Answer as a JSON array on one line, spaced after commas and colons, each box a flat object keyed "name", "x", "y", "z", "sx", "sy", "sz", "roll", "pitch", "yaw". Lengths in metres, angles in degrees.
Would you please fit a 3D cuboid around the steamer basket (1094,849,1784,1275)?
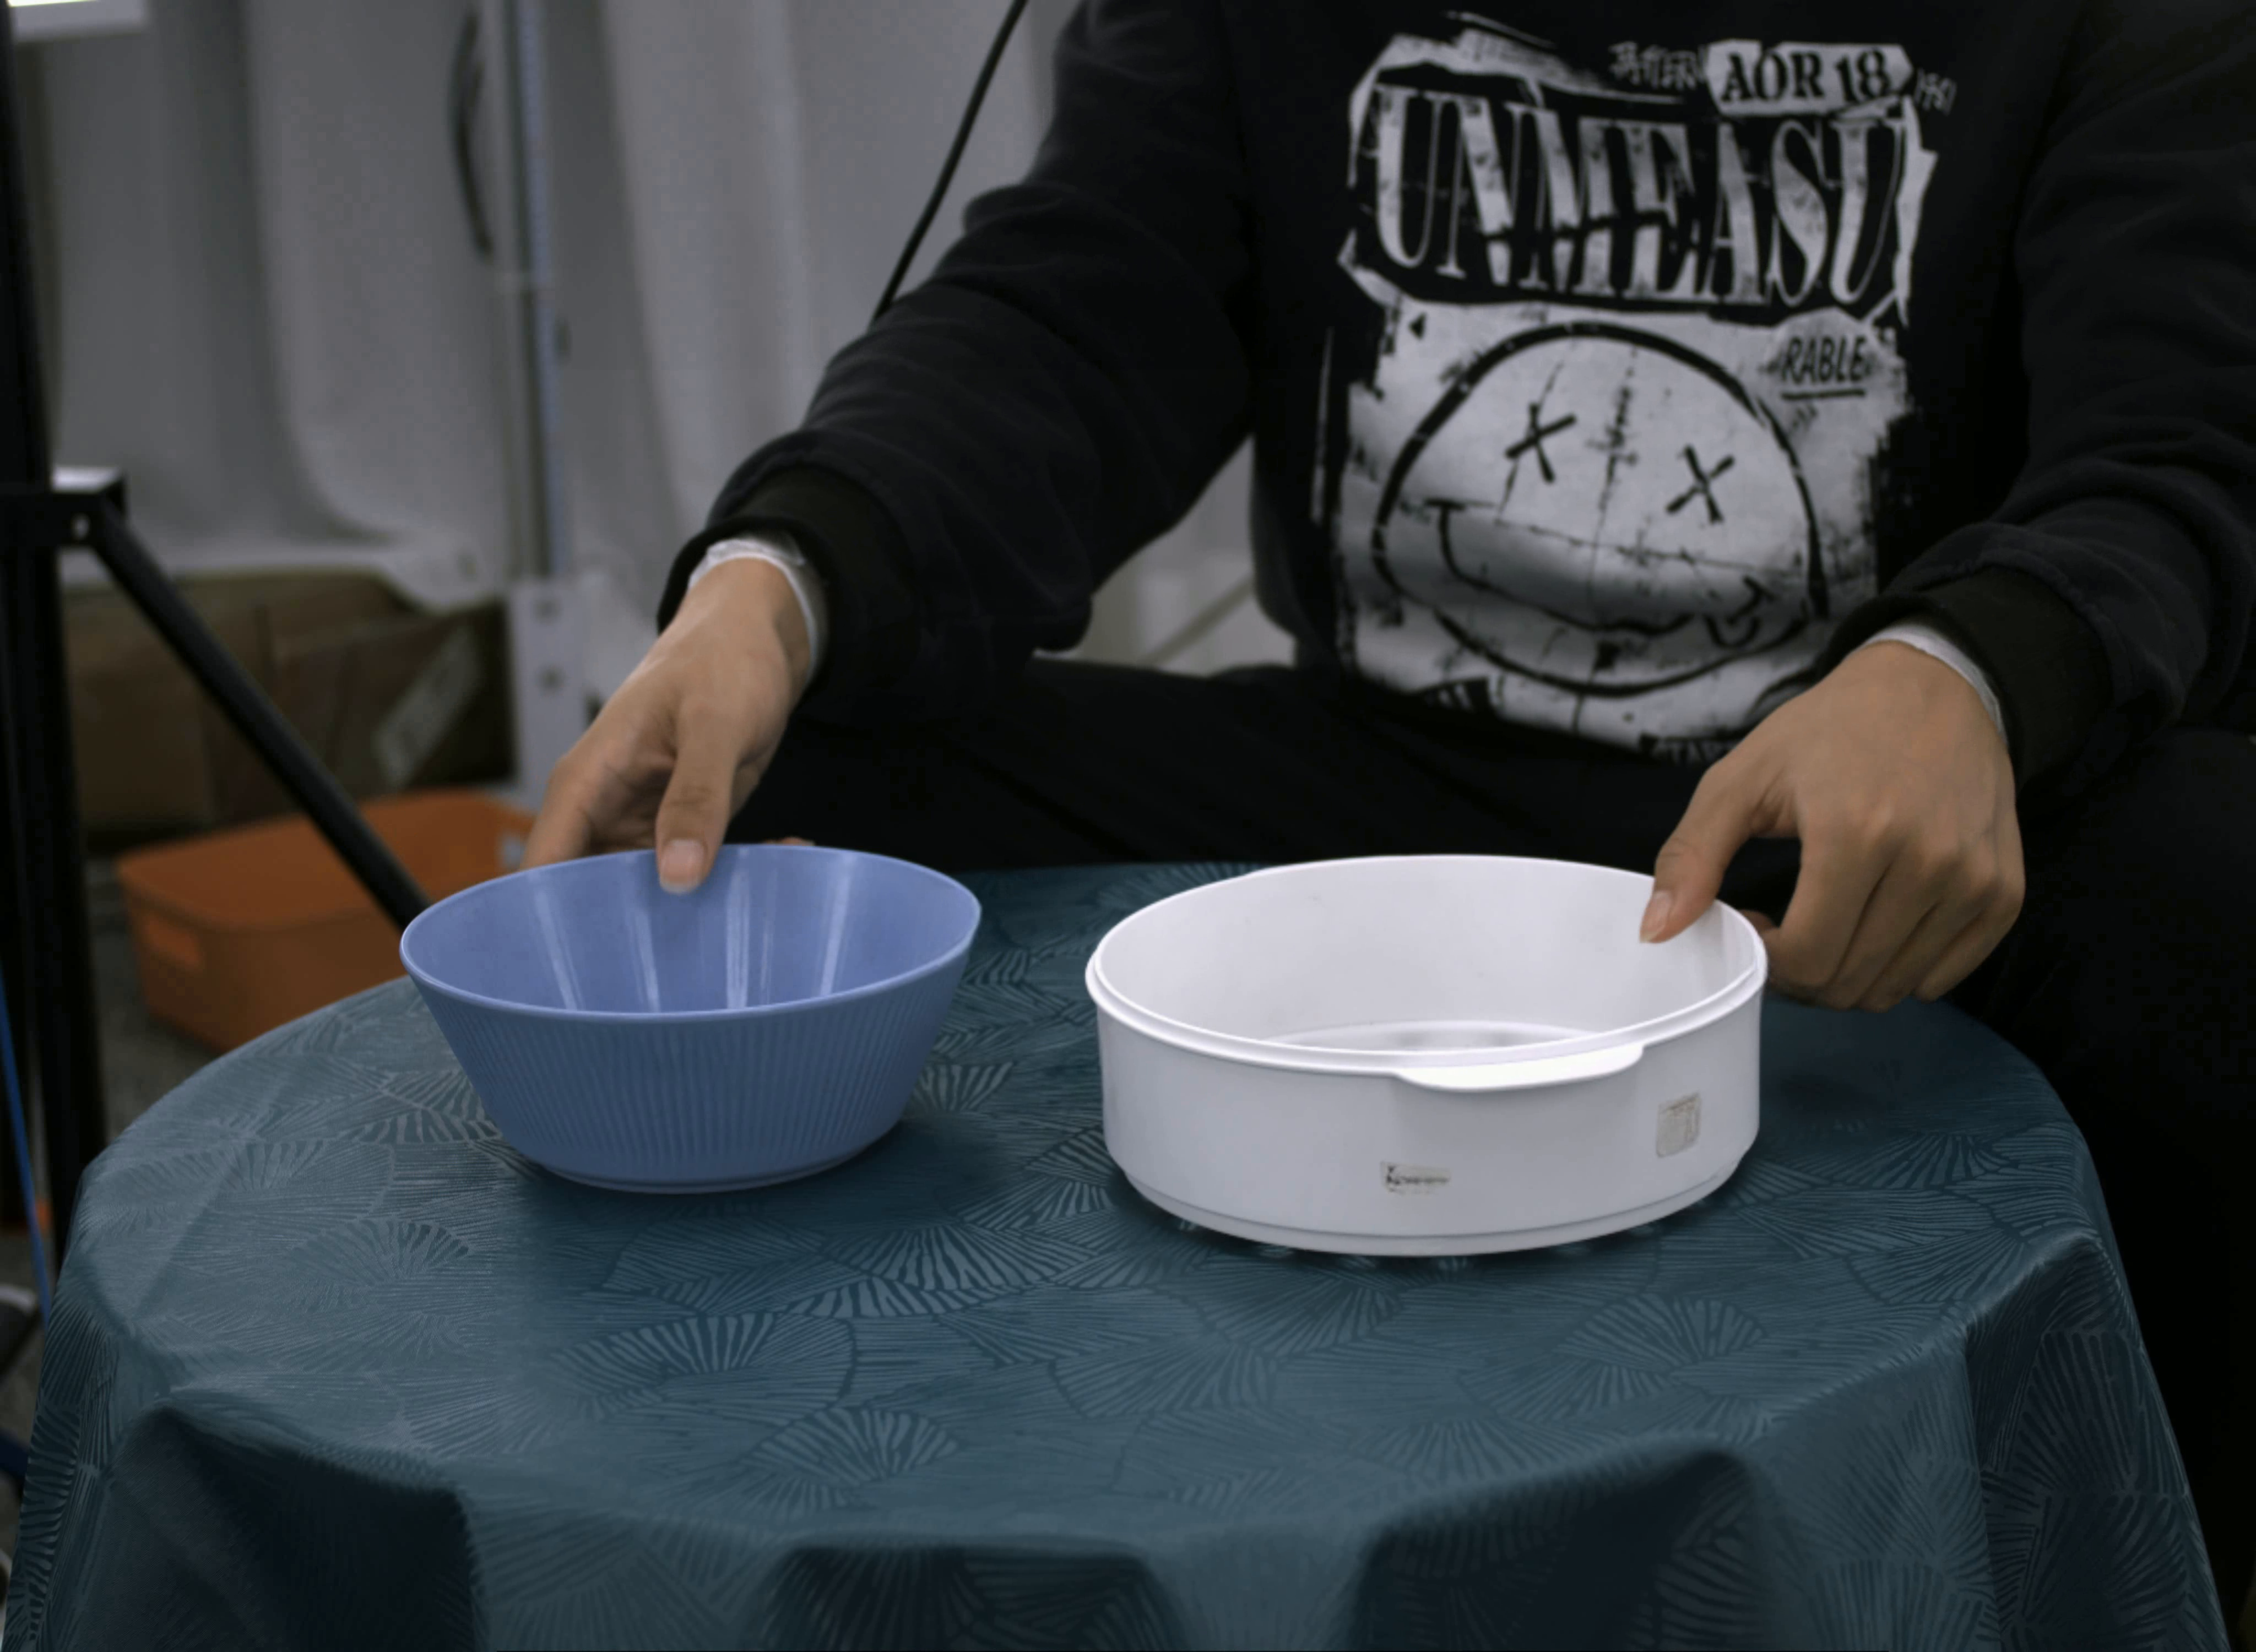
[{"name": "steamer basket", "x": 0.091, "y": 0.069, "z": 1.556, "sx": 0.199, "sy": 0.069, "sz": 0.234, "roll": -6, "pitch": 18, "yaw": -11}]

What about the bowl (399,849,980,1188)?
[{"name": "bowl", "x": -0.132, "y": 0.060, "z": 1.618, "sx": 0.175, "sy": 0.070, "sz": 0.177, "roll": -2, "pitch": 16, "yaw": -1}]
